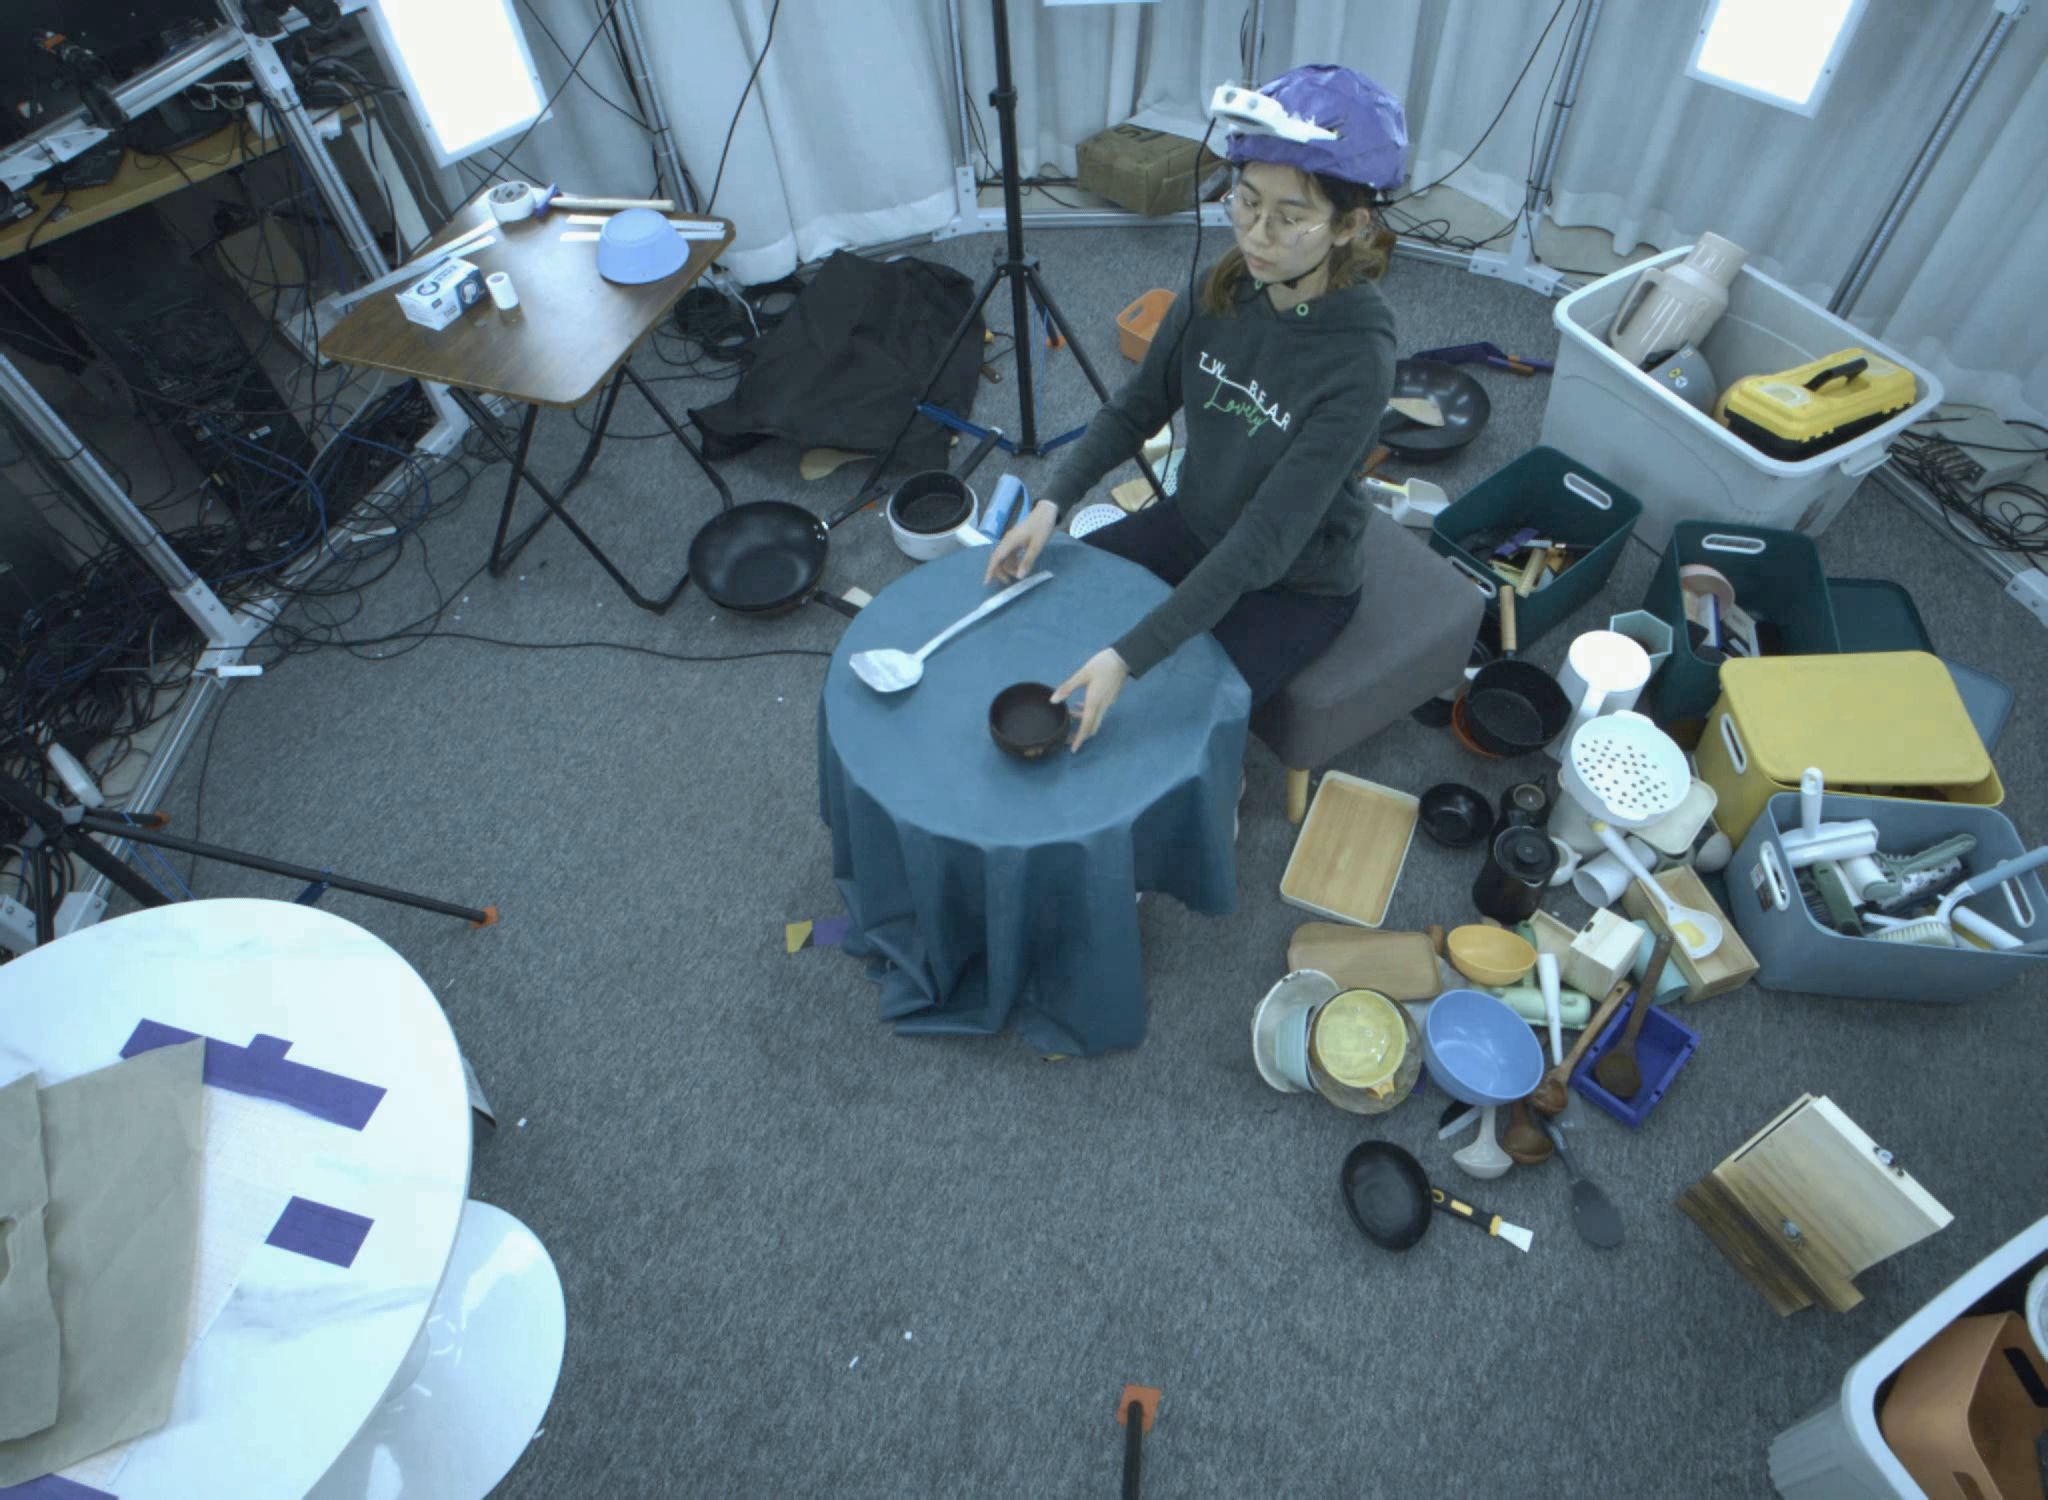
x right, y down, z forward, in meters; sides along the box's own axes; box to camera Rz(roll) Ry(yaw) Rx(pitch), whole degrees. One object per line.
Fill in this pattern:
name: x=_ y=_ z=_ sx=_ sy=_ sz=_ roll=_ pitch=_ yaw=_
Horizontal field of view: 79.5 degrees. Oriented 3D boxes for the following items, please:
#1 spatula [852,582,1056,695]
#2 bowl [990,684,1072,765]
spatula: x=-0.099 y=-0.188 z=1.909 sx=0.368 sy=0.045 sz=0.097 roll=-34 pitch=59 yaw=-20
bowl: x=0.011 y=-0.029 z=1.774 sx=0.118 sy=0.070 sz=0.117 roll=1 pitch=55 yaw=0
